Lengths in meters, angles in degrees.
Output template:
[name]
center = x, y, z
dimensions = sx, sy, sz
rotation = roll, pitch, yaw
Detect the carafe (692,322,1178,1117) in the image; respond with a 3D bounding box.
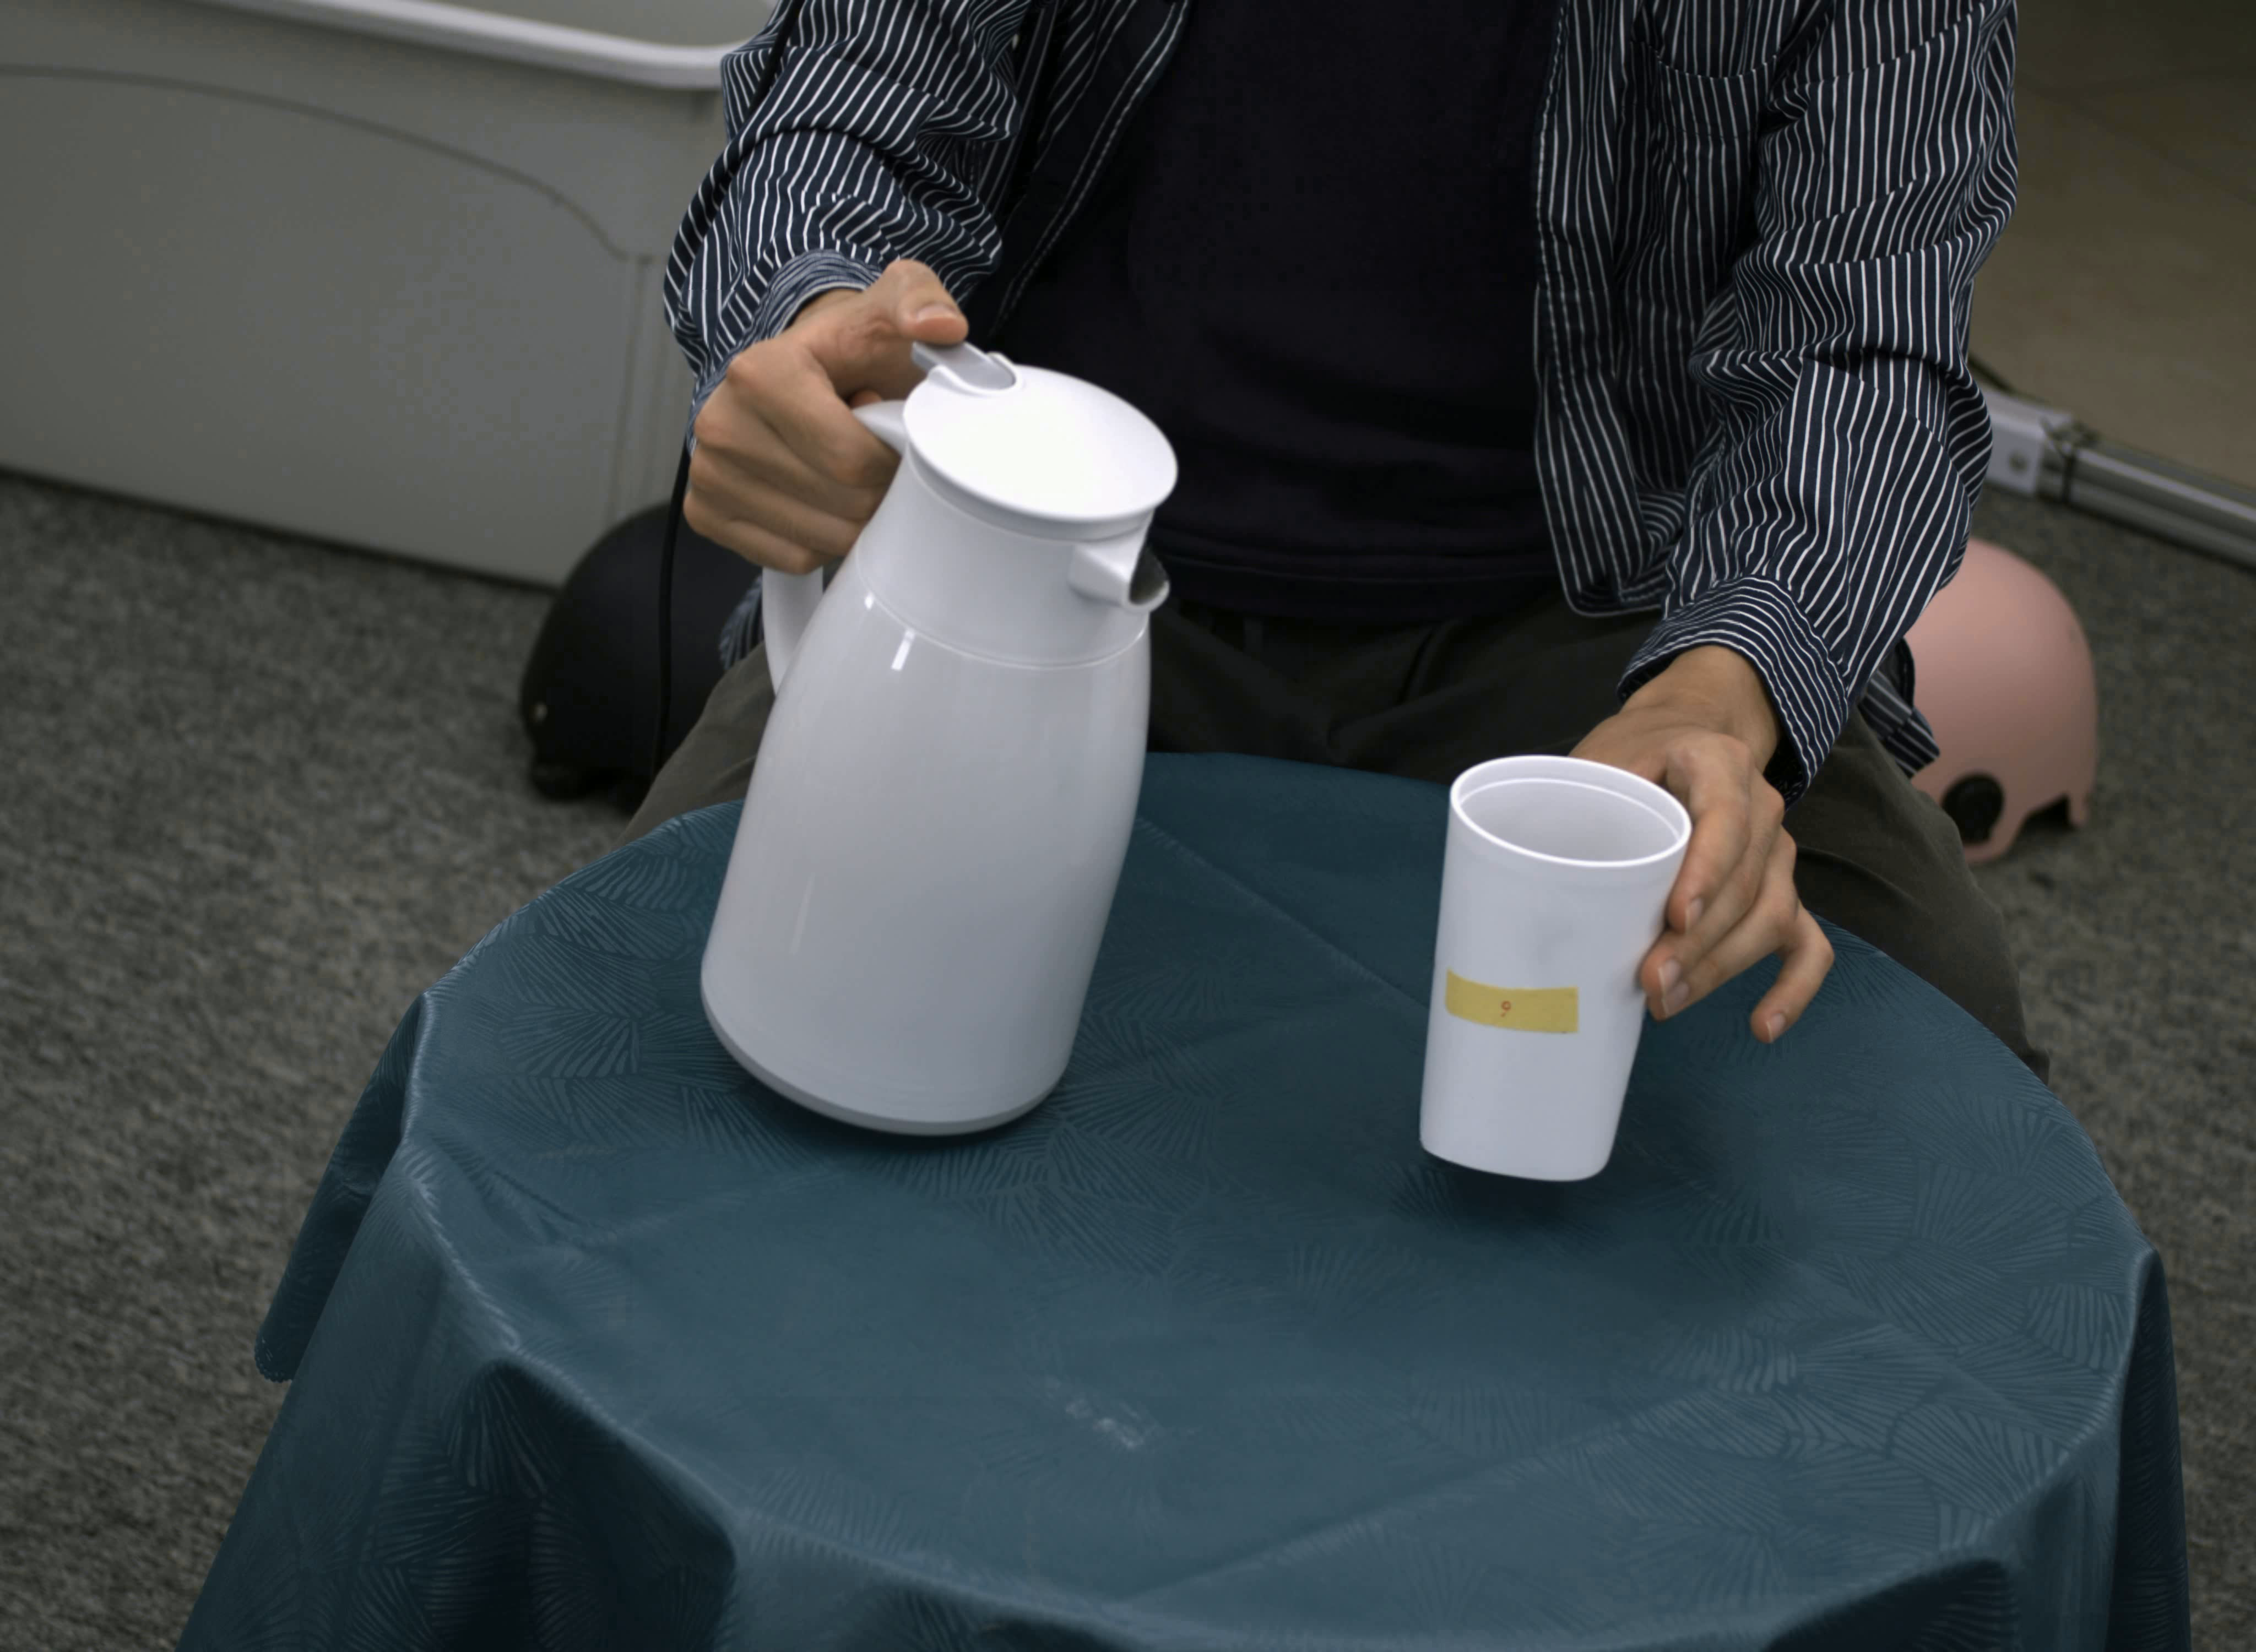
[carafe]
center = -0.071, -0.047, 1.793
dimensions = 0.169, 0.248, 0.132
rotation = 39, 41, 27

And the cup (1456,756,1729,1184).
[cup]
center = 0.152, 0.050, 1.788
dimensions = 0.081, 0.125, 0.082
rotation = 6, 25, -3
